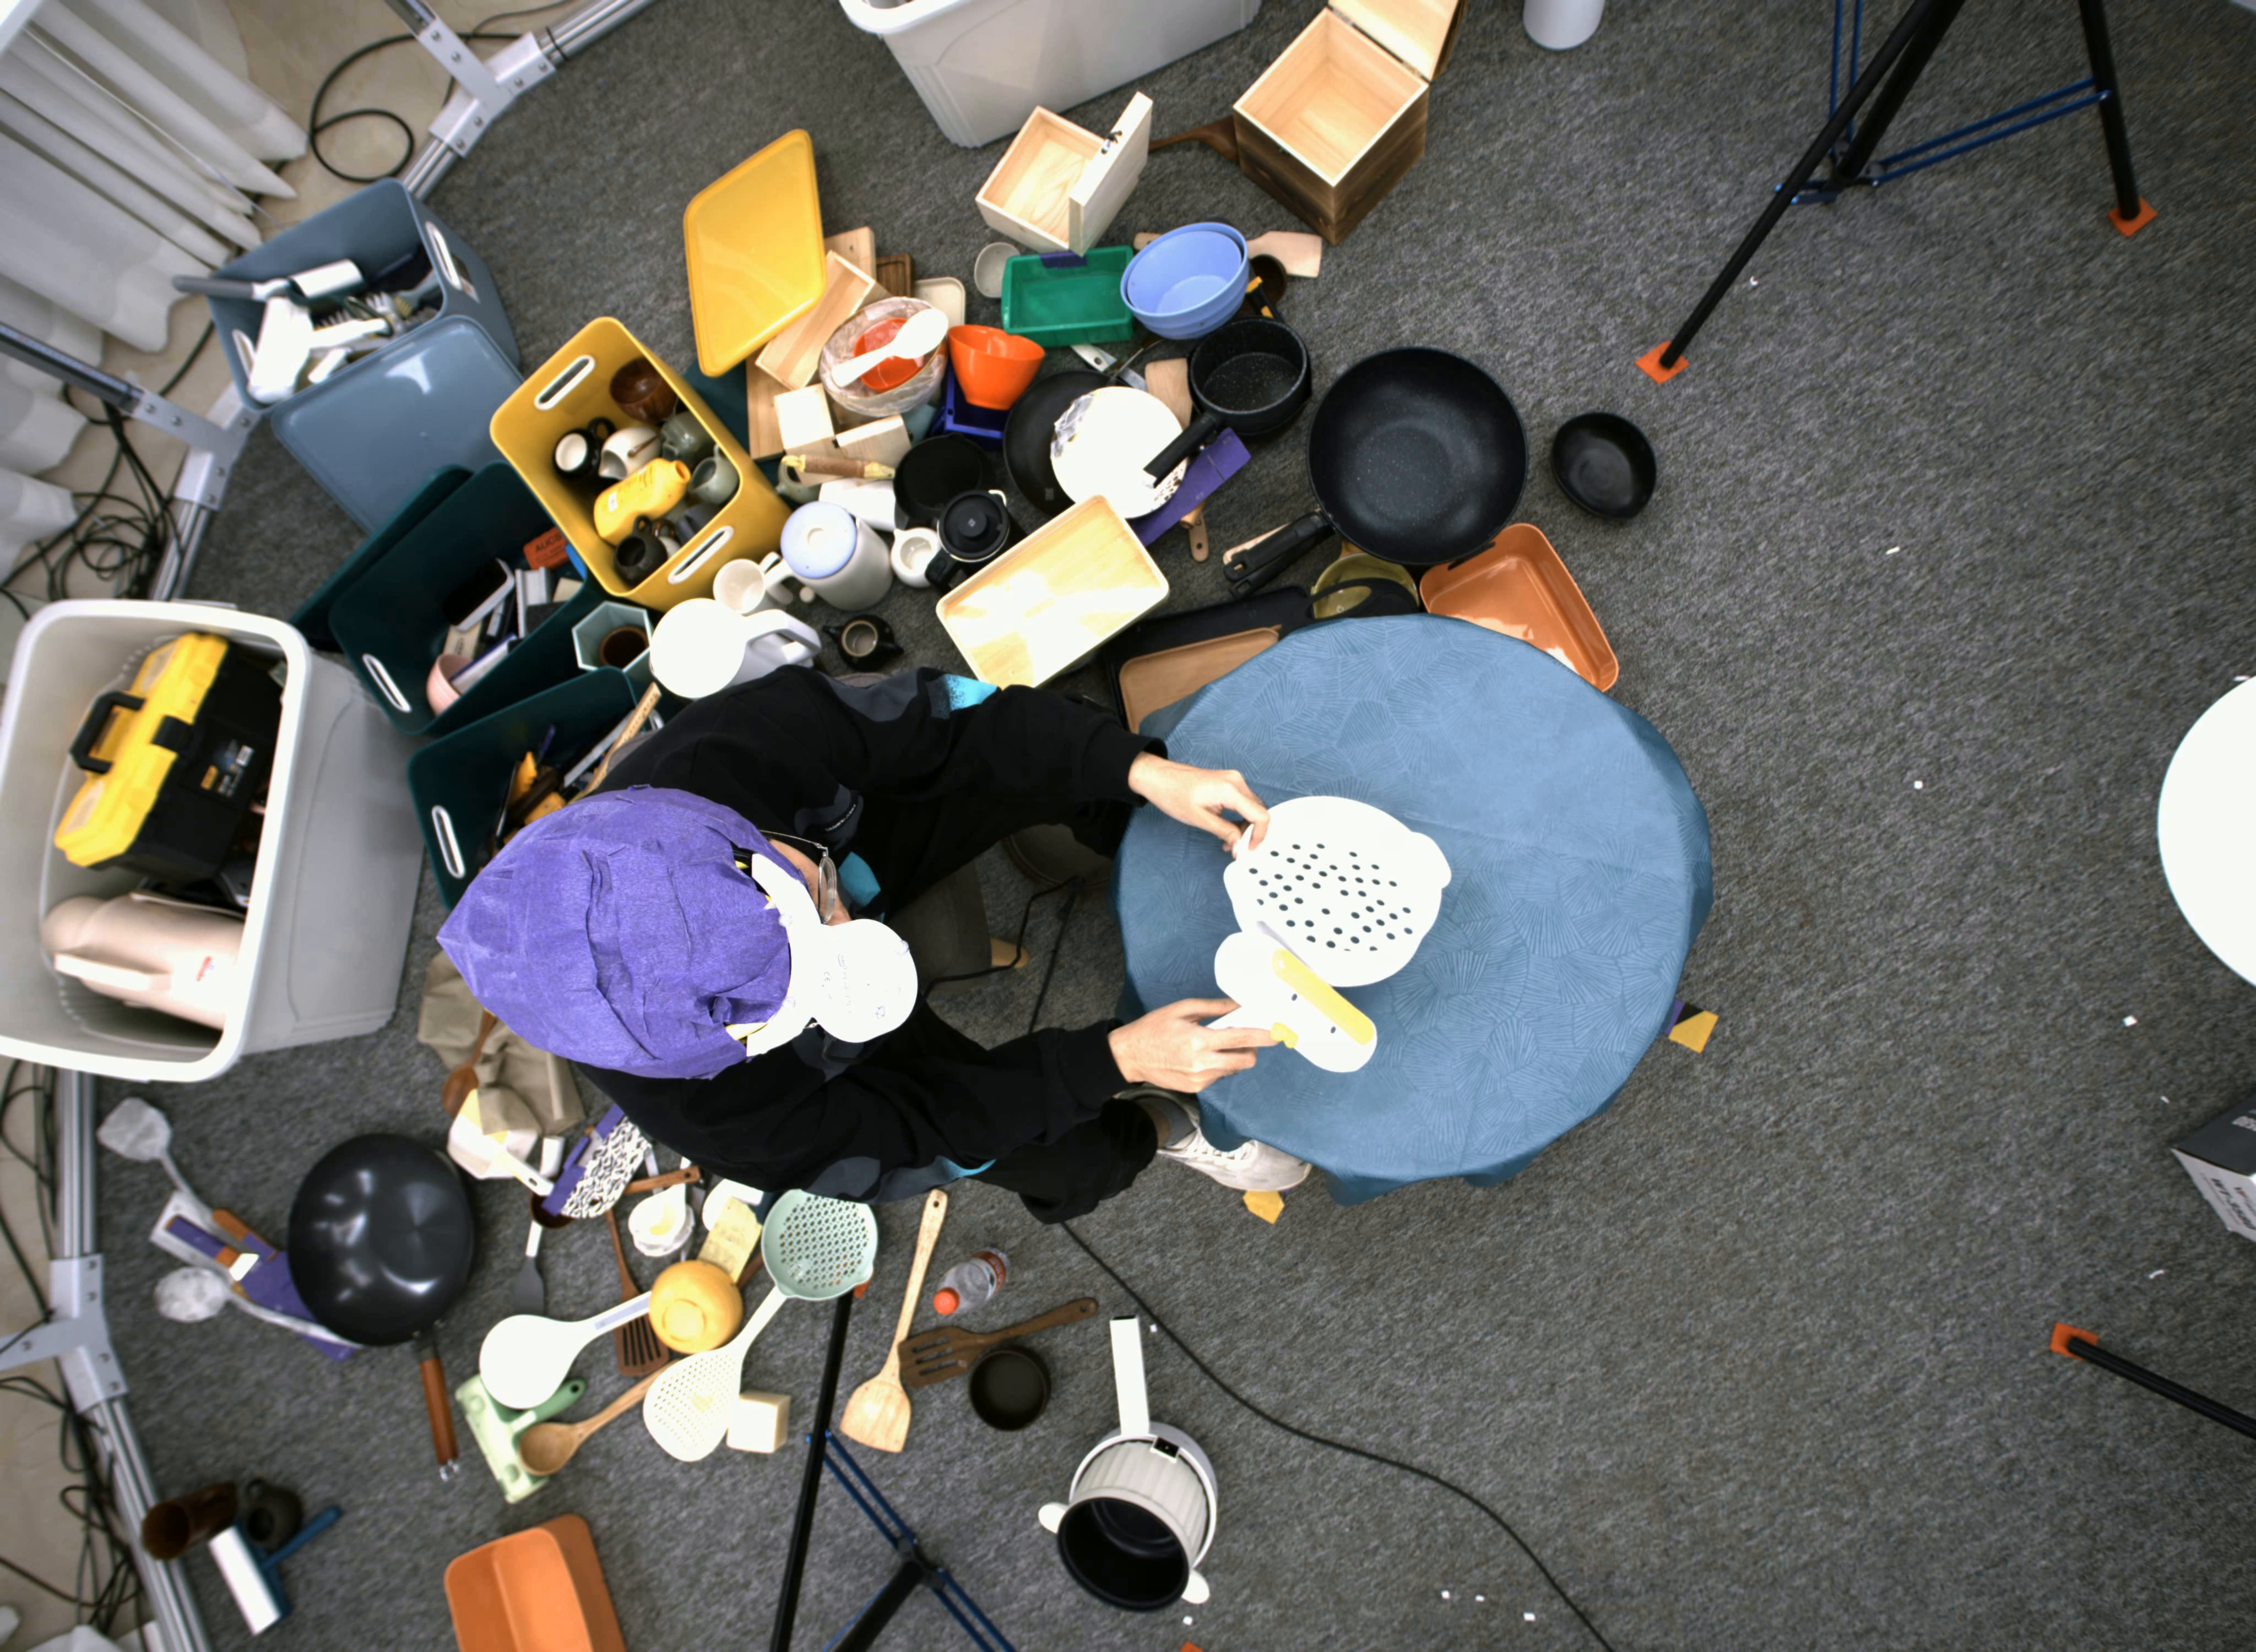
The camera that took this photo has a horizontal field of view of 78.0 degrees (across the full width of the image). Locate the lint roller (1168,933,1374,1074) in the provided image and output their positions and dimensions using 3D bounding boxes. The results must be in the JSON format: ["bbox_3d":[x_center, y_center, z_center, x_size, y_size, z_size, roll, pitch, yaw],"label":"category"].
[{"bbox_3d":[0.114,0.188,1.333,0.196,0.194,0.072,-27,40,45],"label":"lint roller"}]

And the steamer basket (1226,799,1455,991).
[{"bbox_3d":[0.205,0.066,1.358,0.229,0.071,0.197,-10,51,-14],"label":"steamer basket"}]
